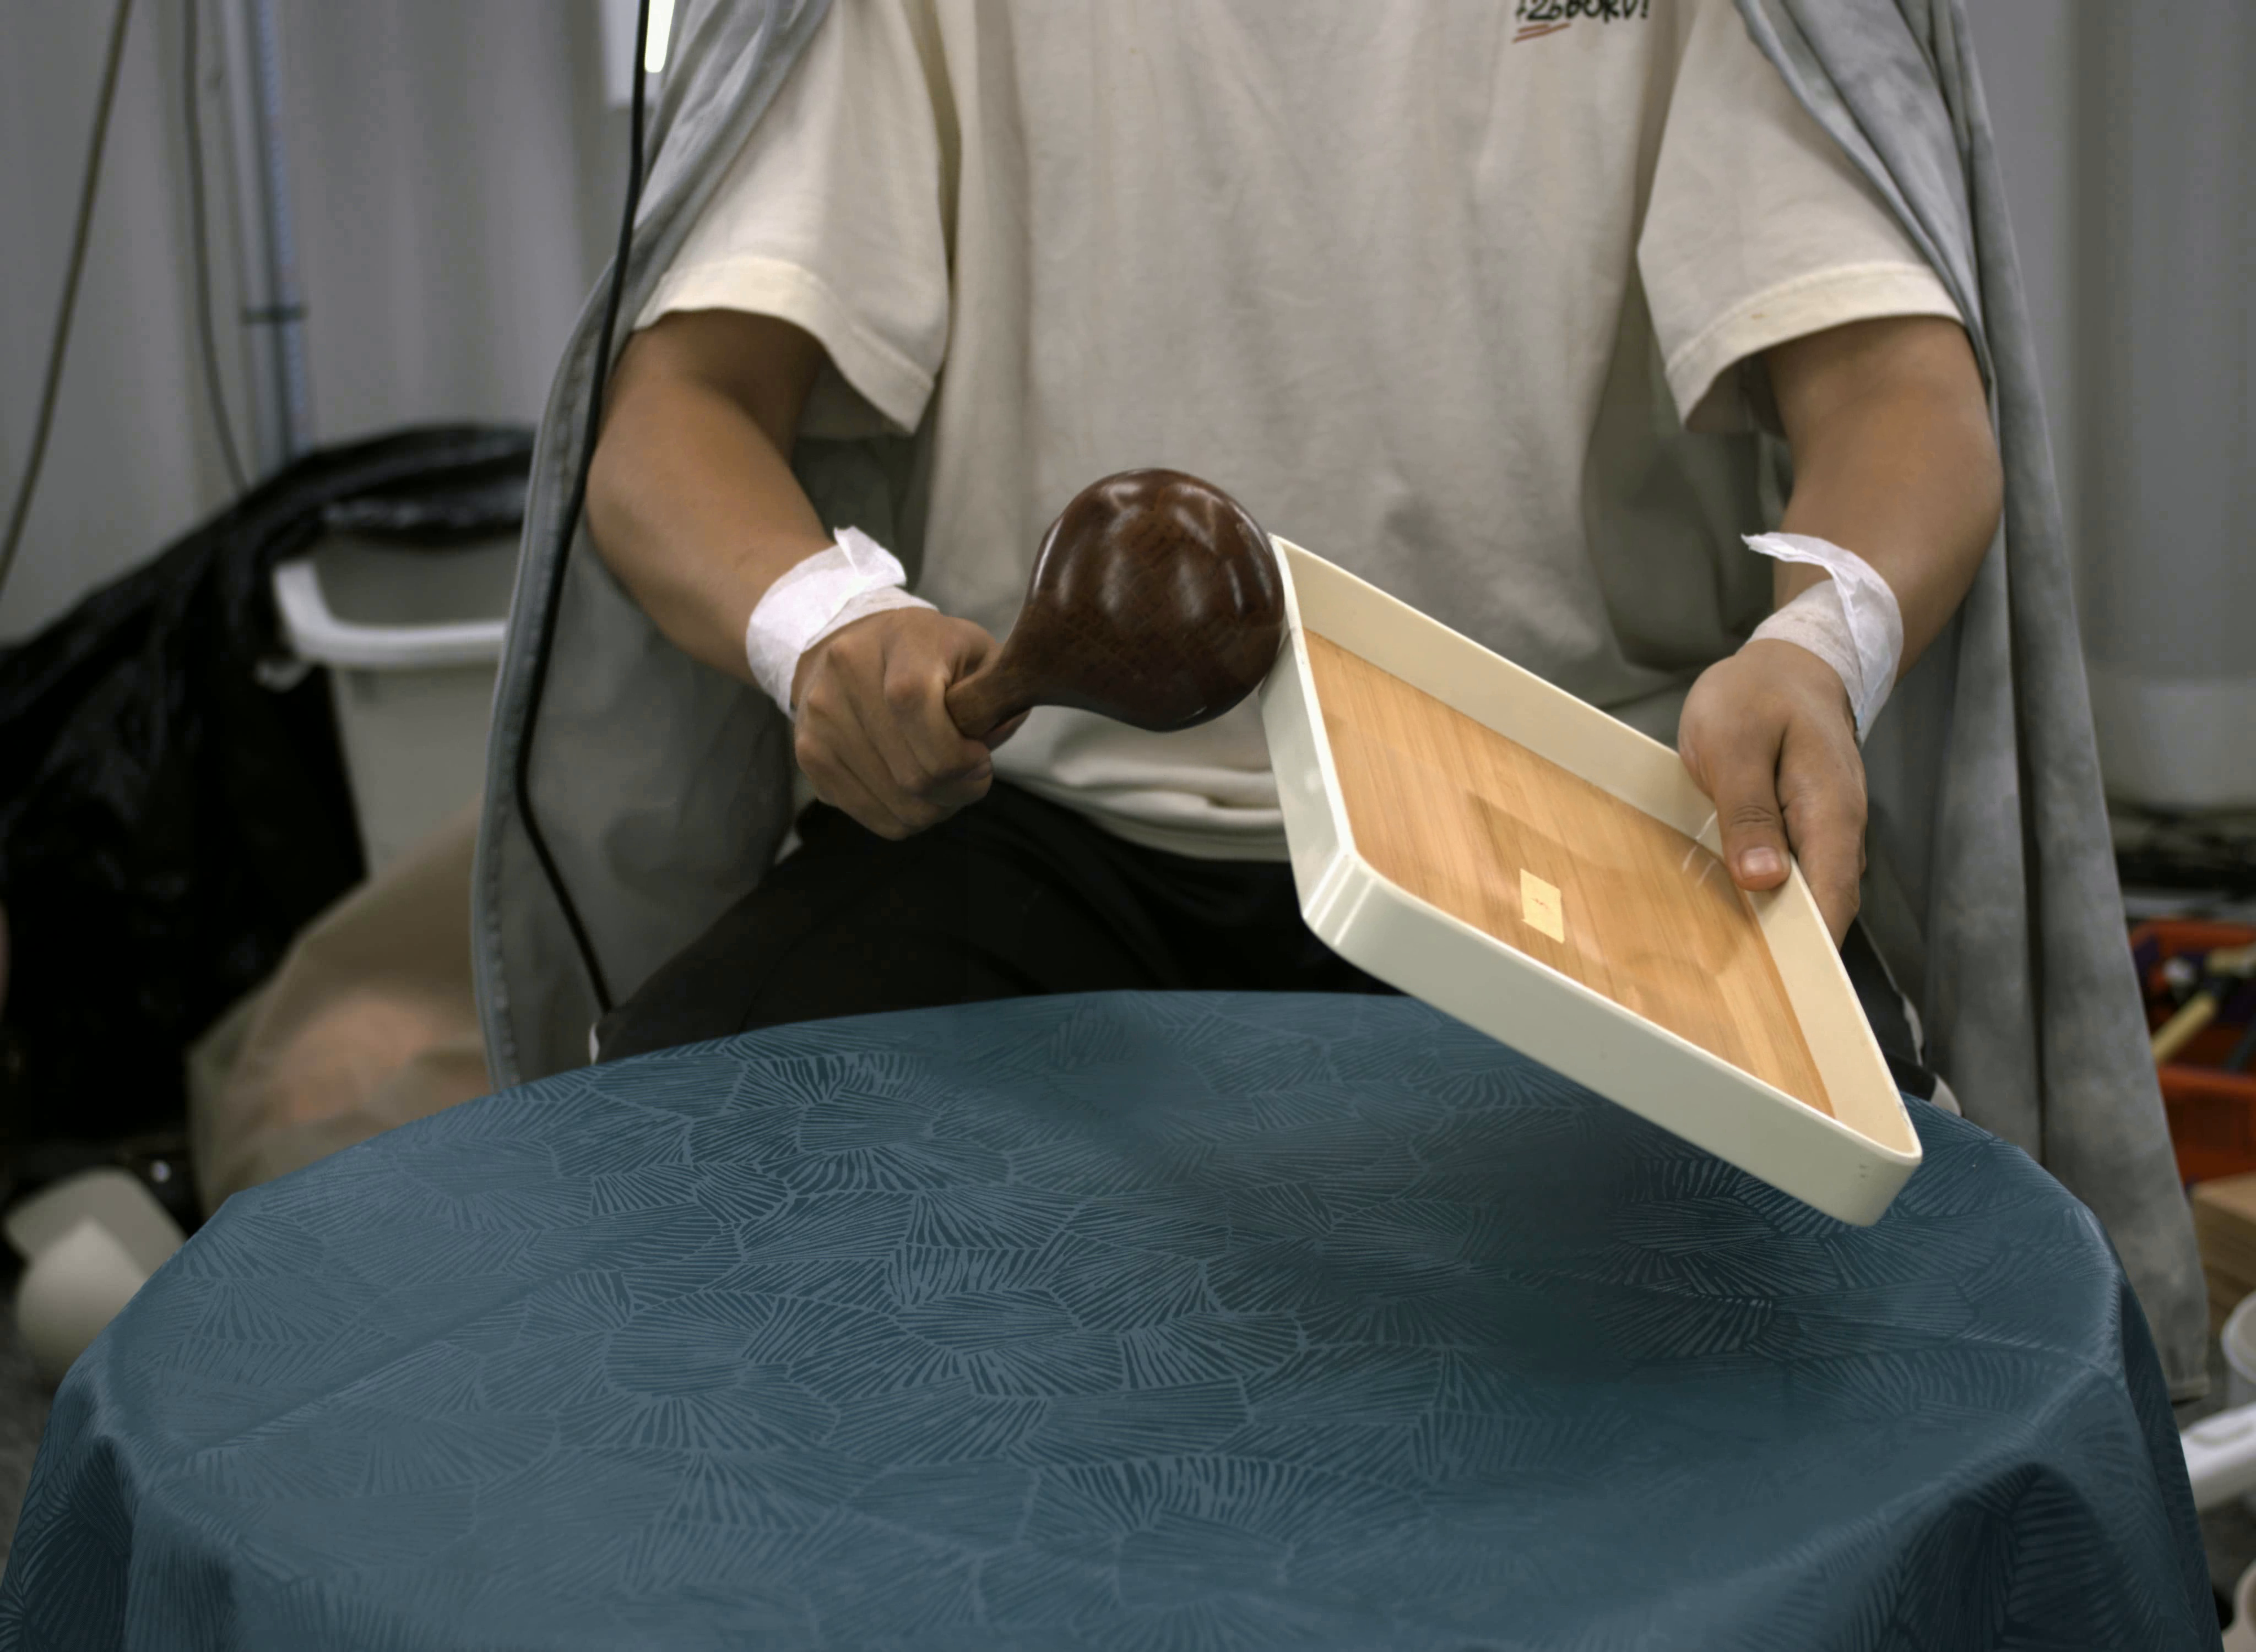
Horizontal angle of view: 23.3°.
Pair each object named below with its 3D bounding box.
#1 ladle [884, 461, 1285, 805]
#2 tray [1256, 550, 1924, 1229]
[{"bbox_3d":[-0.018,-0.054,1.770,0.076,0.082,0.273,-21,-4,-16],"label":"ladle"},{"bbox_3d":[0.129,0.013,1.634,0.190,0.027,0.303,28,17,-11],"label":"tray"}]
